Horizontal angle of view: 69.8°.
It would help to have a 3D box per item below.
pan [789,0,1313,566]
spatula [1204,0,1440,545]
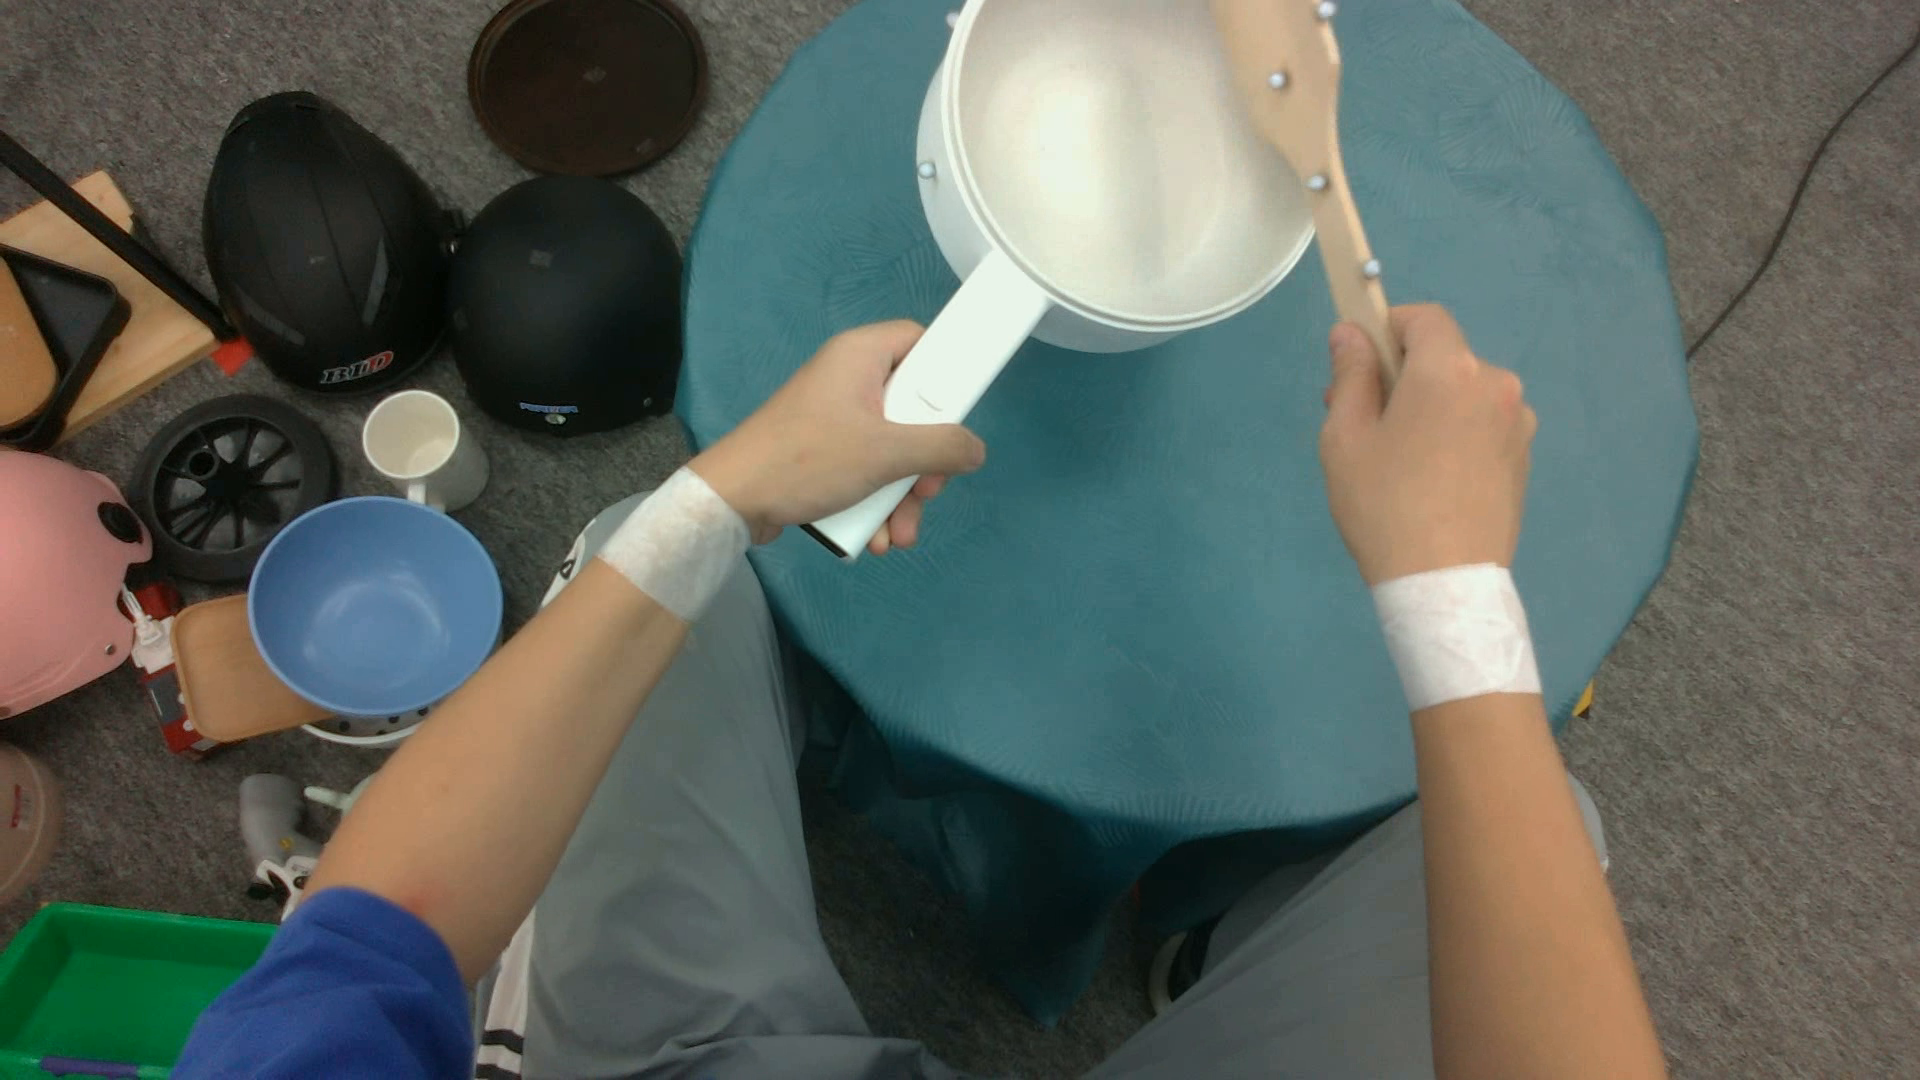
[{"bbox_3d":[0.031,-0.136,0.703,0.201,0.102,0.355,38,77,-11],"label":"pan"},{"bbox_3d":[0.172,-0.139,0.638,0.011,0.072,0.293,-13,82,-19],"label":"spatula"}]
